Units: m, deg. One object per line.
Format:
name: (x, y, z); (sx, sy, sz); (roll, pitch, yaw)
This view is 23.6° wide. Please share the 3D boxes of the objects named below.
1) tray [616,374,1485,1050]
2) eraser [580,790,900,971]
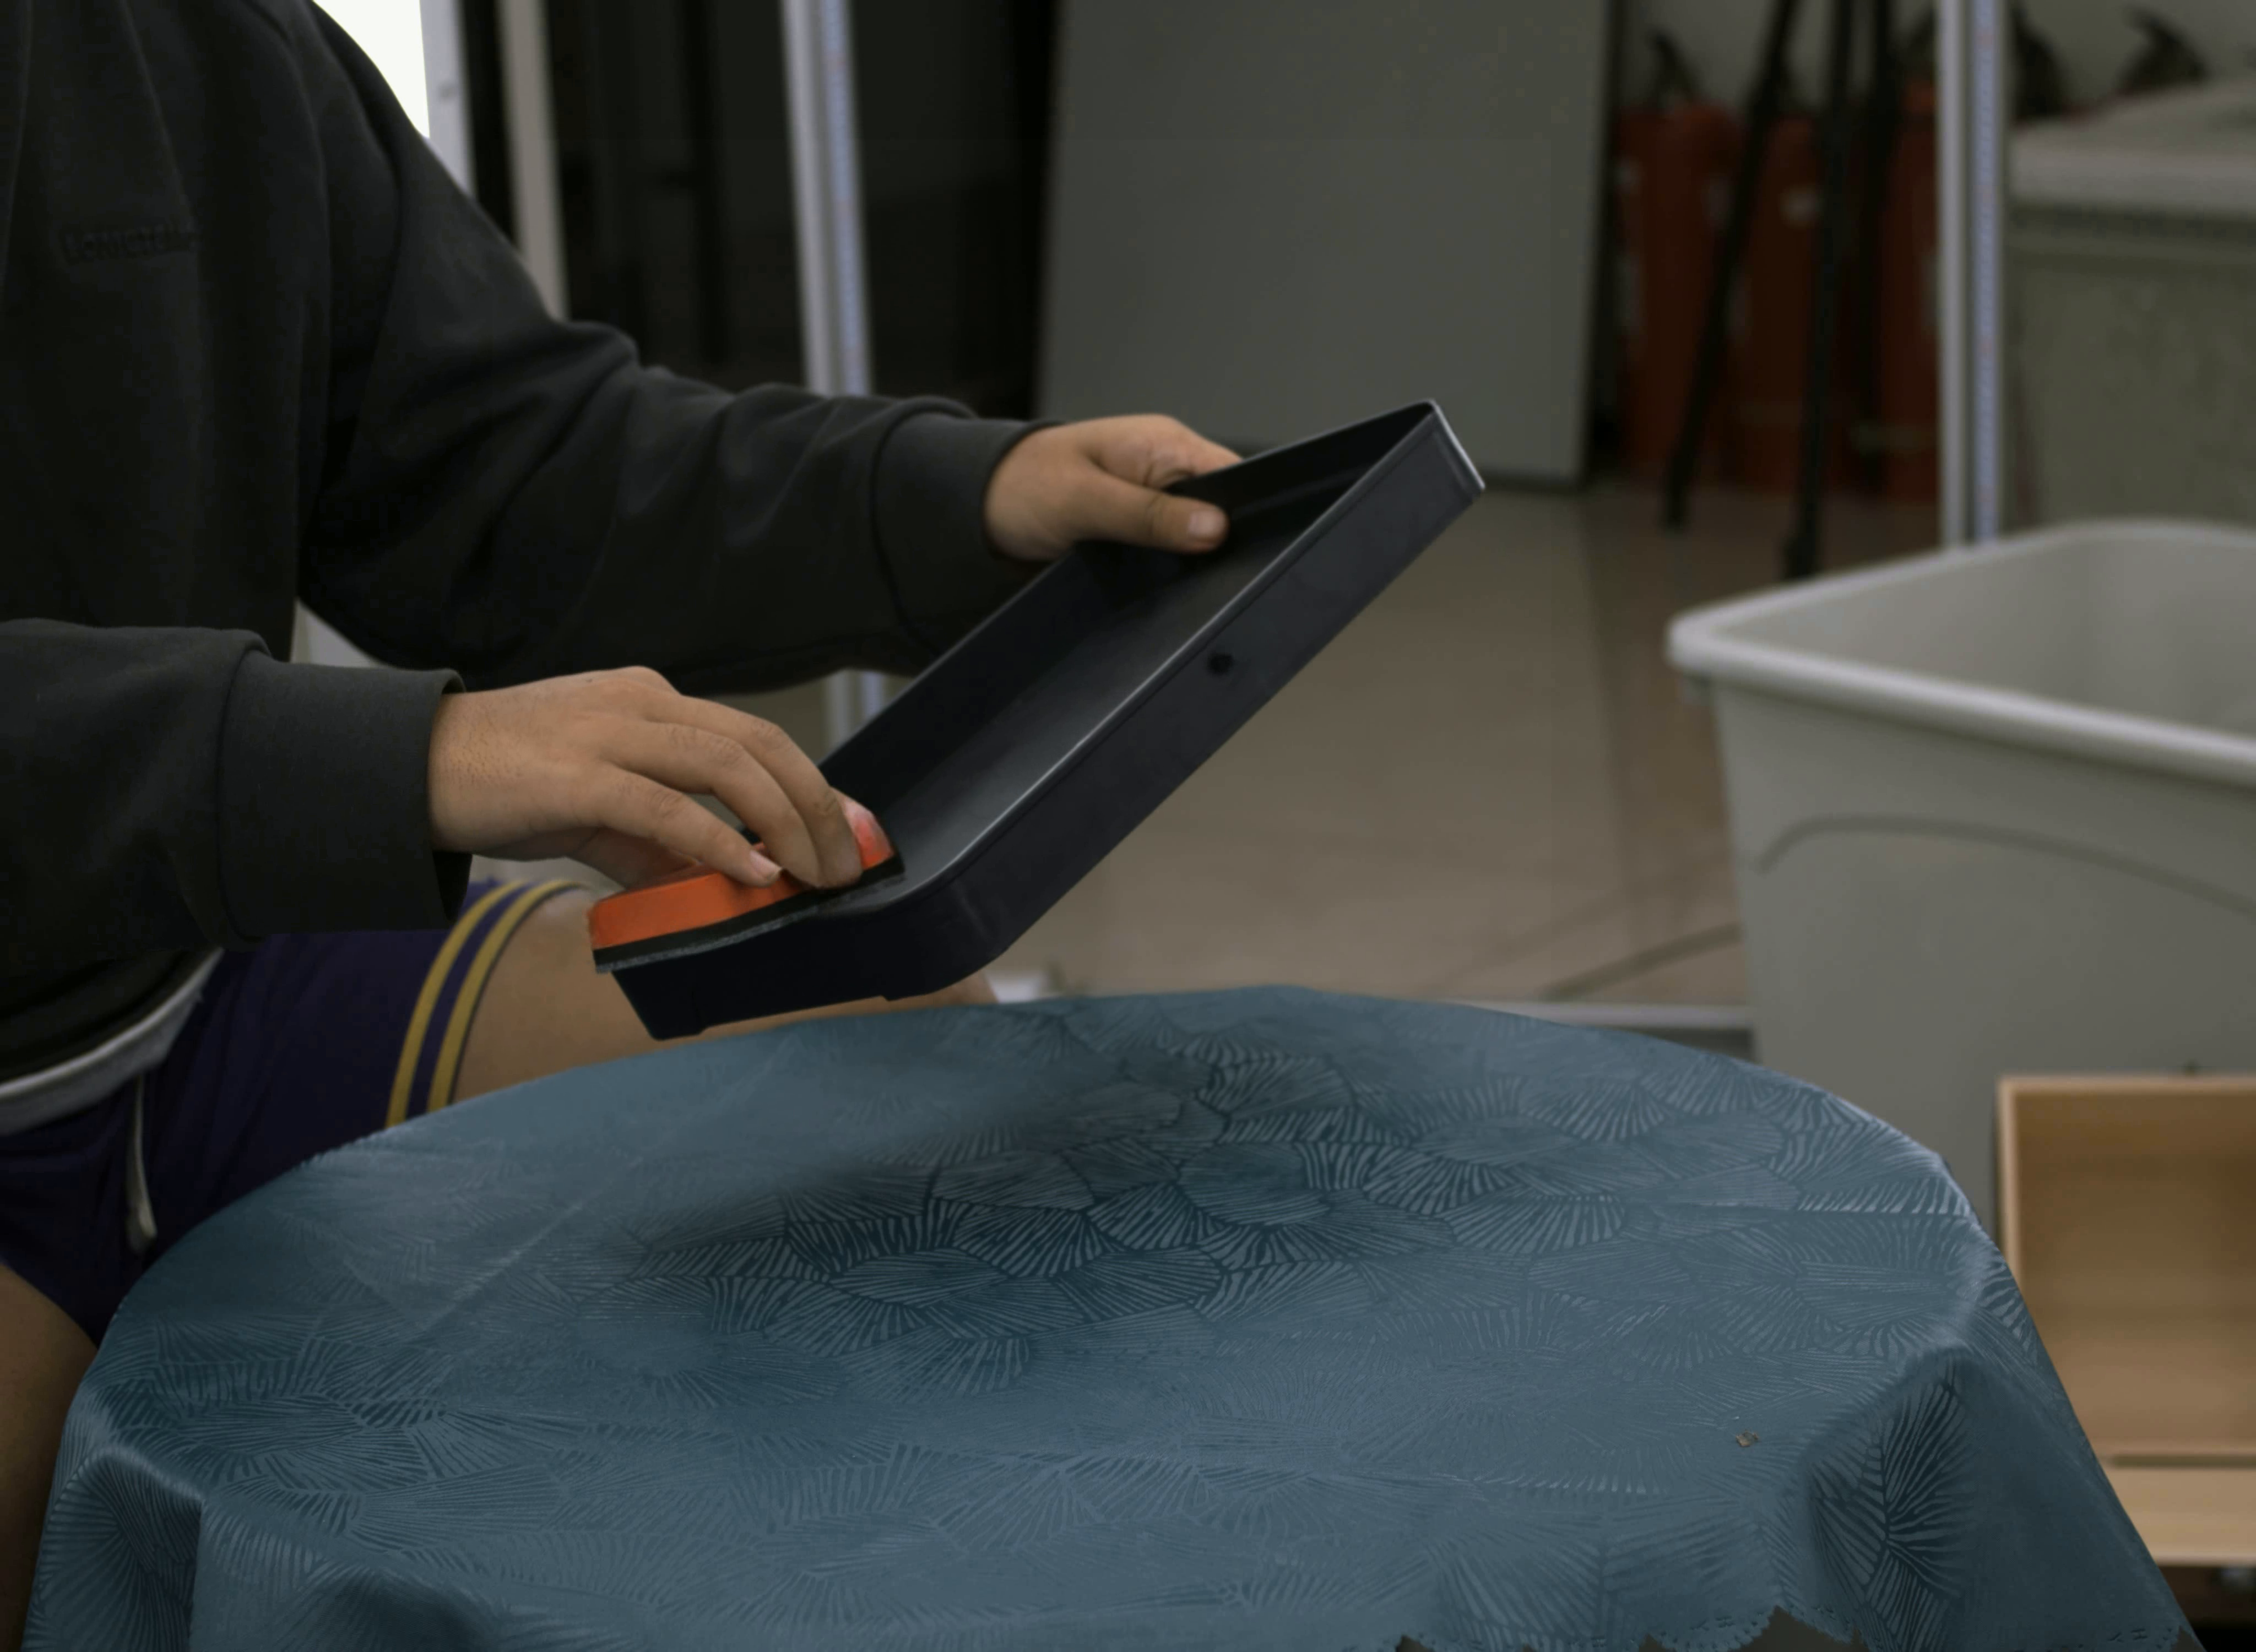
tray: (-0.022, -0.039, 1.800); (0.186, 0.037, 0.315); (-17, 21, 48)
eraser: (-0.122, 0.017, 1.705); (0.059, 0.023, 0.106); (-25, -2, 33)
